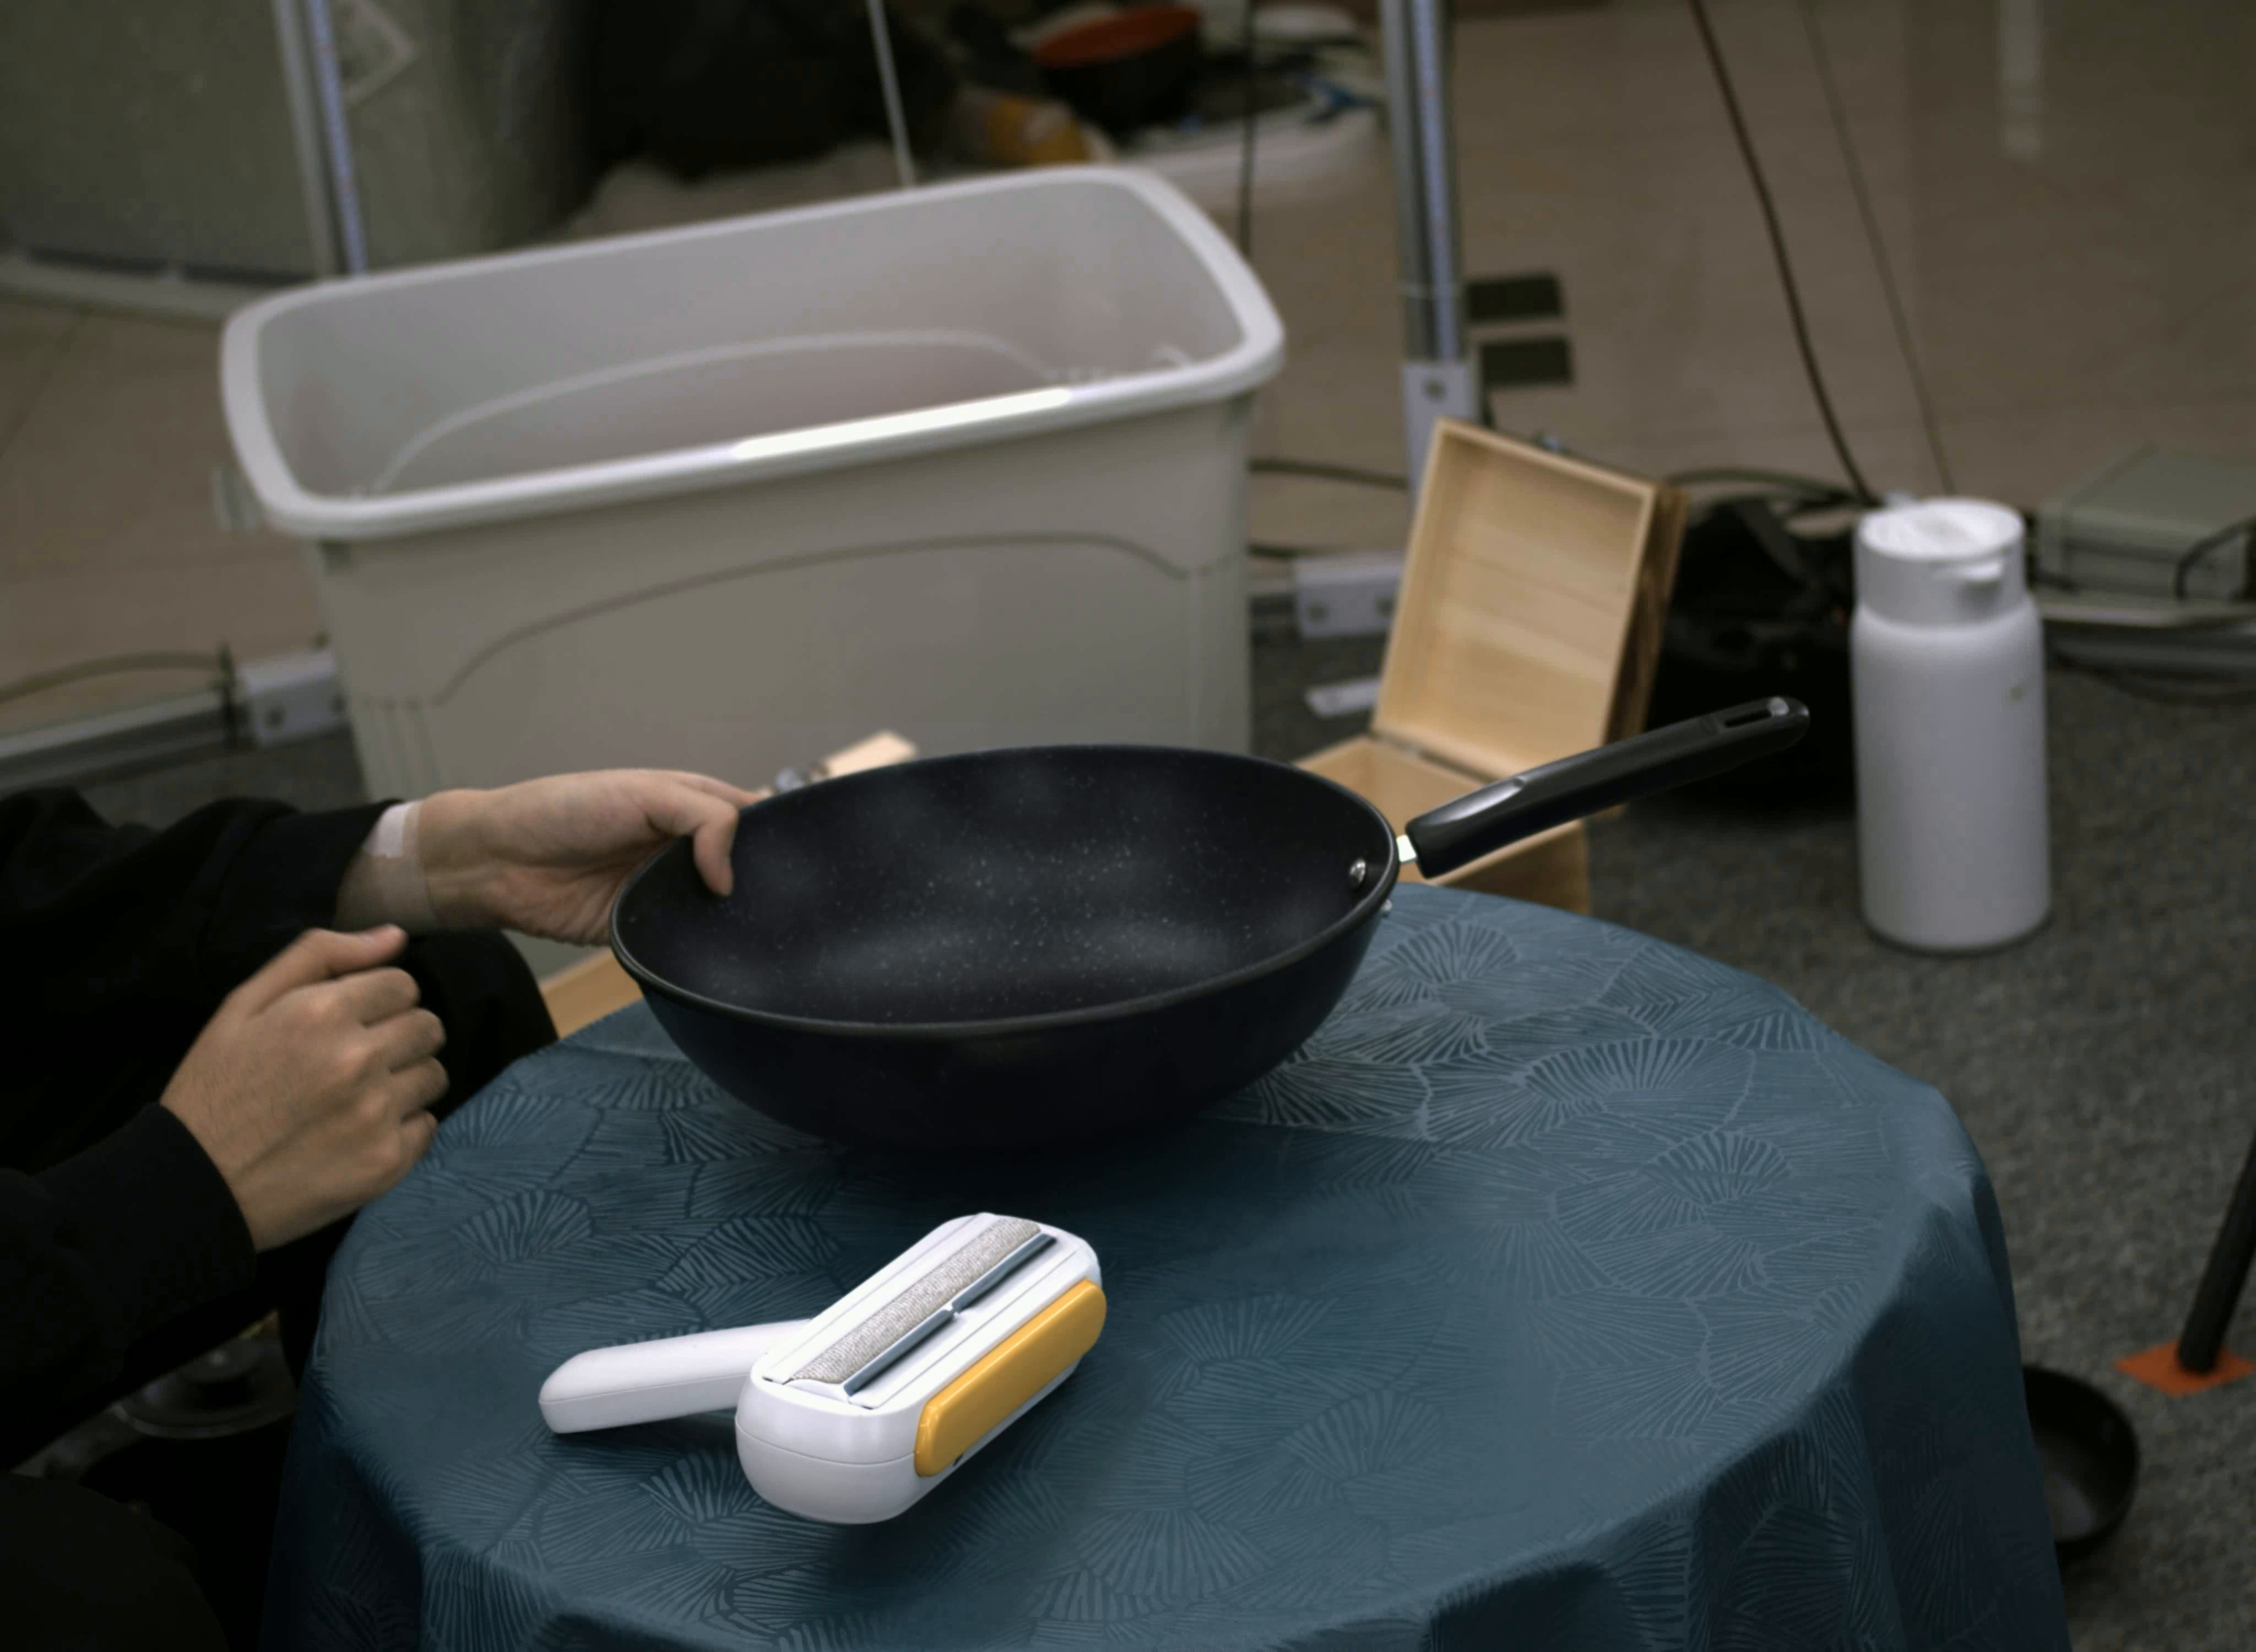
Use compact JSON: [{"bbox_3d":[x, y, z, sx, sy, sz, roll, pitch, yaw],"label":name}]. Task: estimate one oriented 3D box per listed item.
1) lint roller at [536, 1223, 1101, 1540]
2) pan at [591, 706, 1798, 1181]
[{"bbox_3d":[-0.125,0.190,1.984,0.192,0.075,0.191,6,22,27],"label":"lint roller"},{"bbox_3d":[0.031,0.039,2.209,0.476,0.113,0.306,-8,23,-6],"label":"pan"}]
